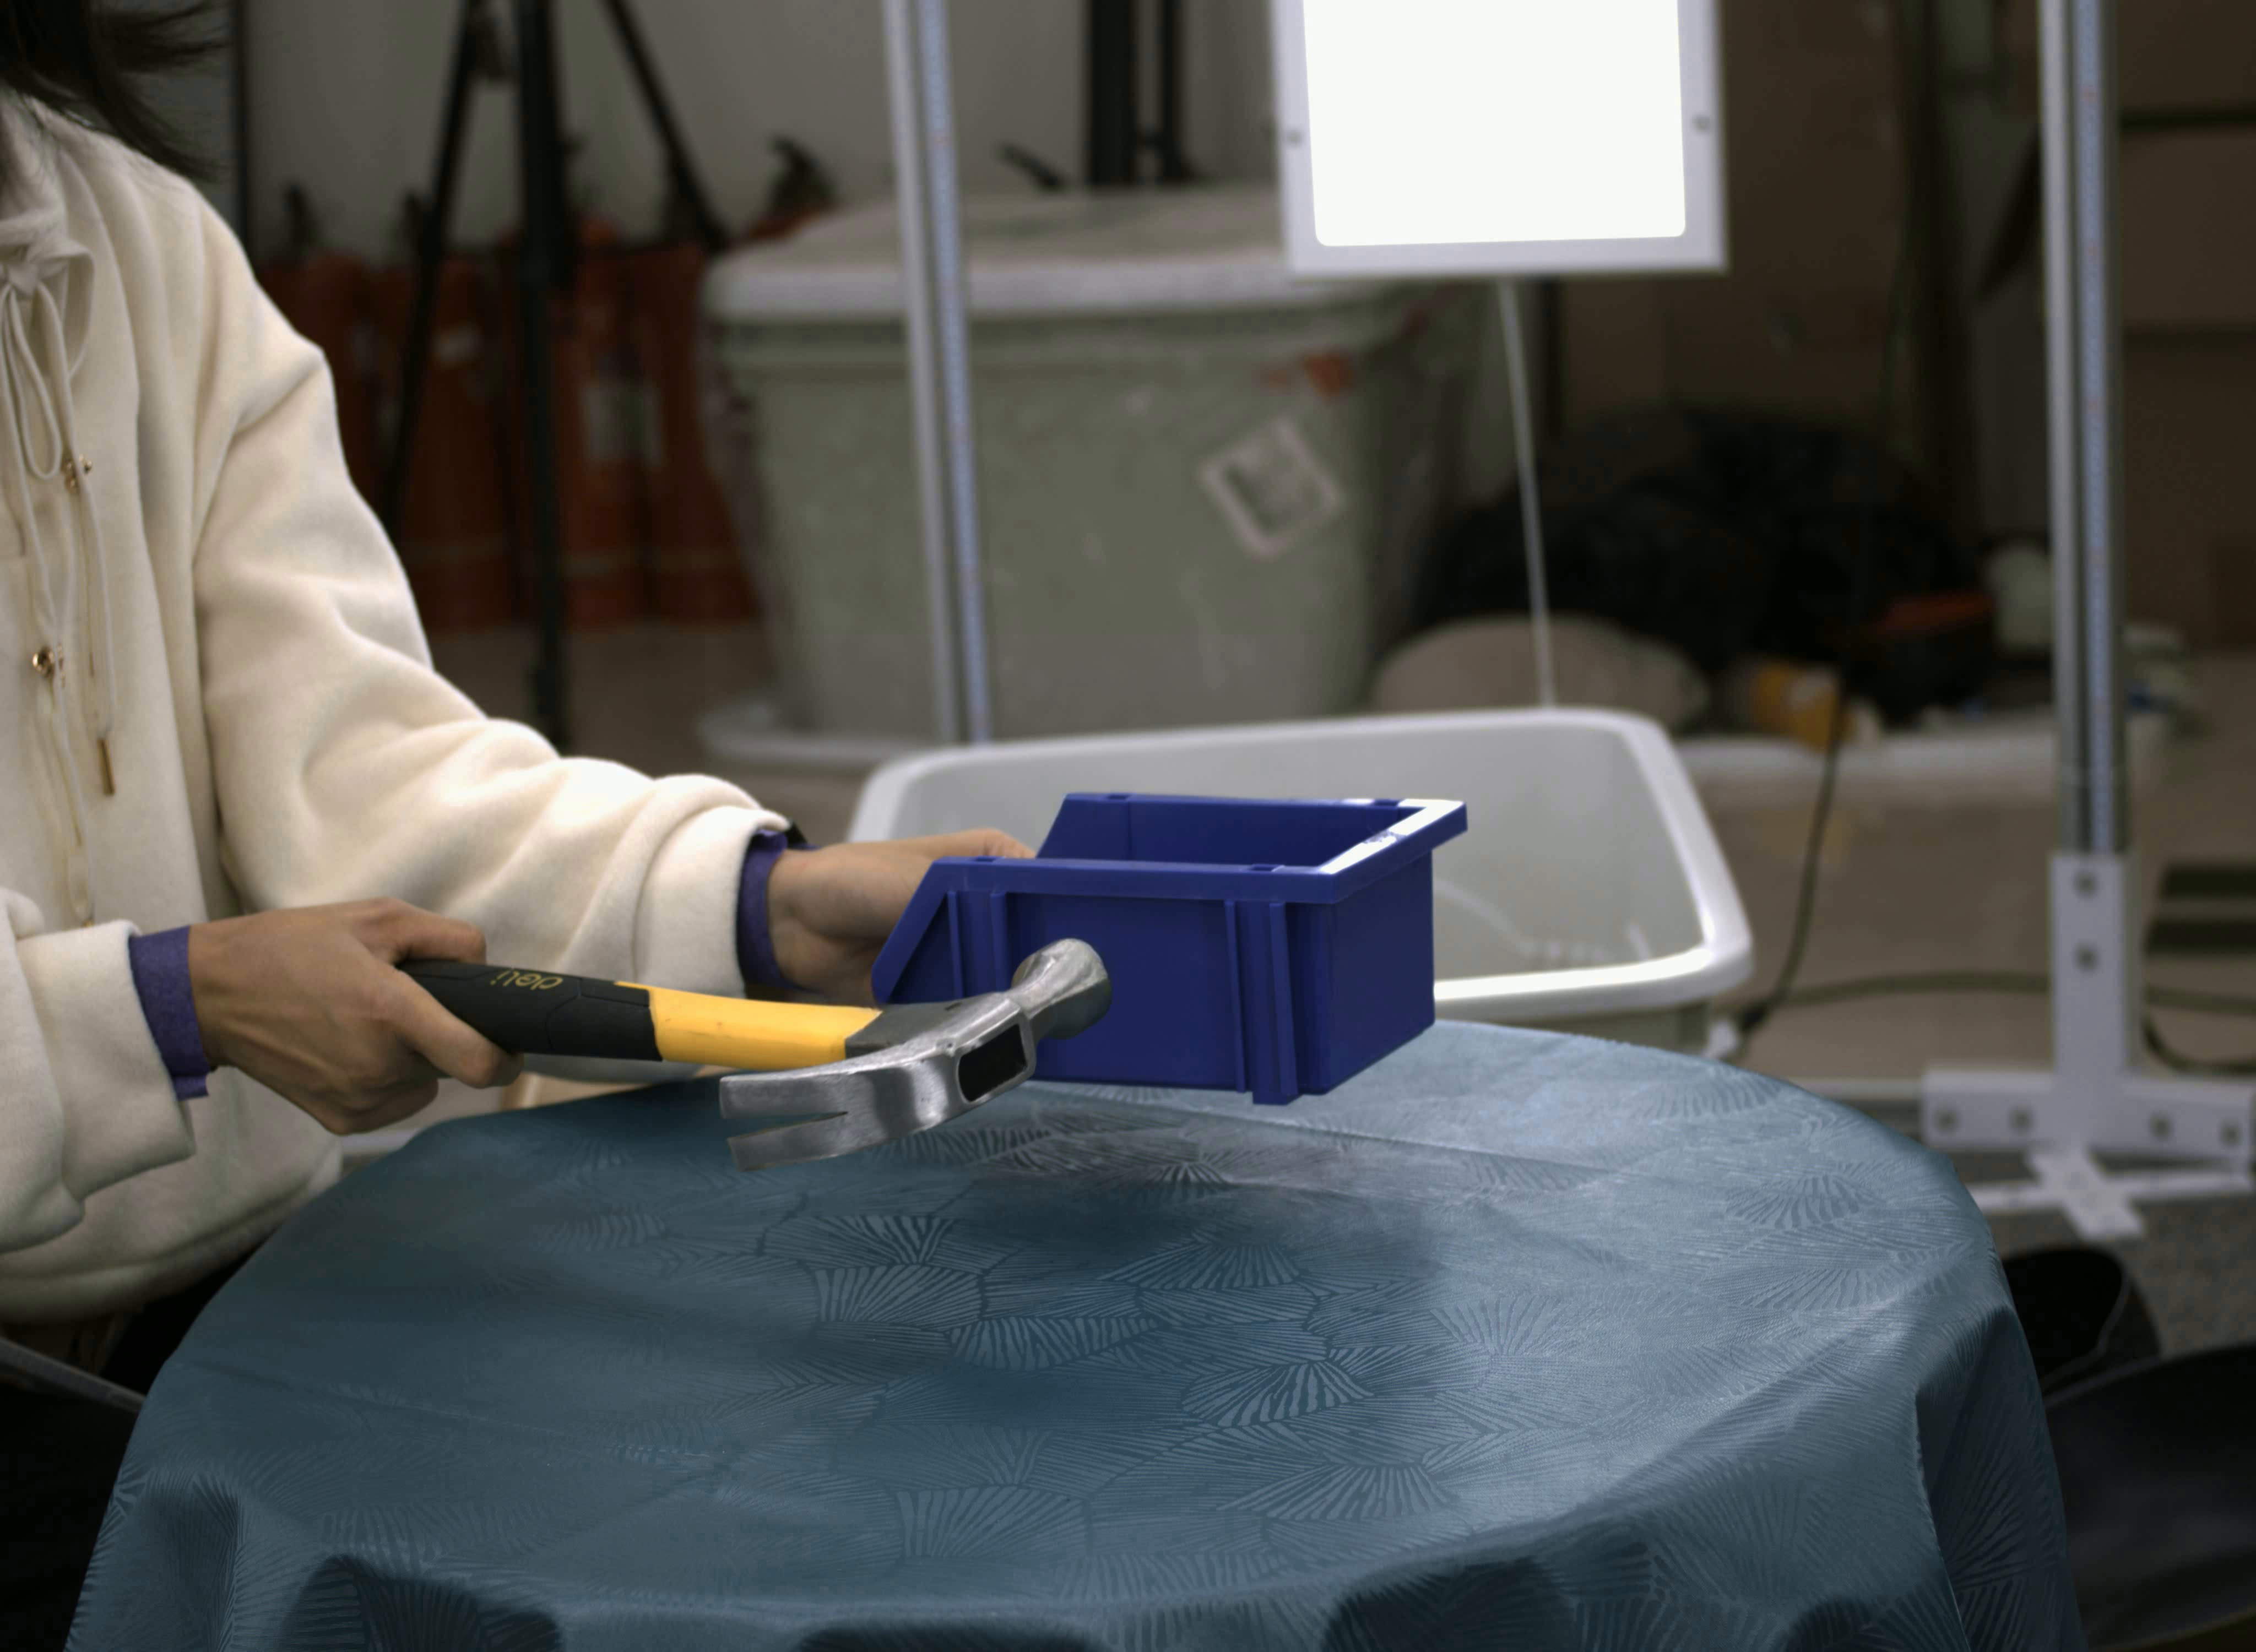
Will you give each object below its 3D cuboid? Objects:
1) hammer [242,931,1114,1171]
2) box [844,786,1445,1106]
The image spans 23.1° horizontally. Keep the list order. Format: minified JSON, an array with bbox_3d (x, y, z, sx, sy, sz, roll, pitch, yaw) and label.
[{"bbox_3d":[-0.172,0.062,1.845,0.346,0.032,0.128,5,26,41],"label":"hammer"},{"bbox_3d":[0.005,0.039,1.905,0.182,0.082,0.122,4,14,28],"label":"box"}]
